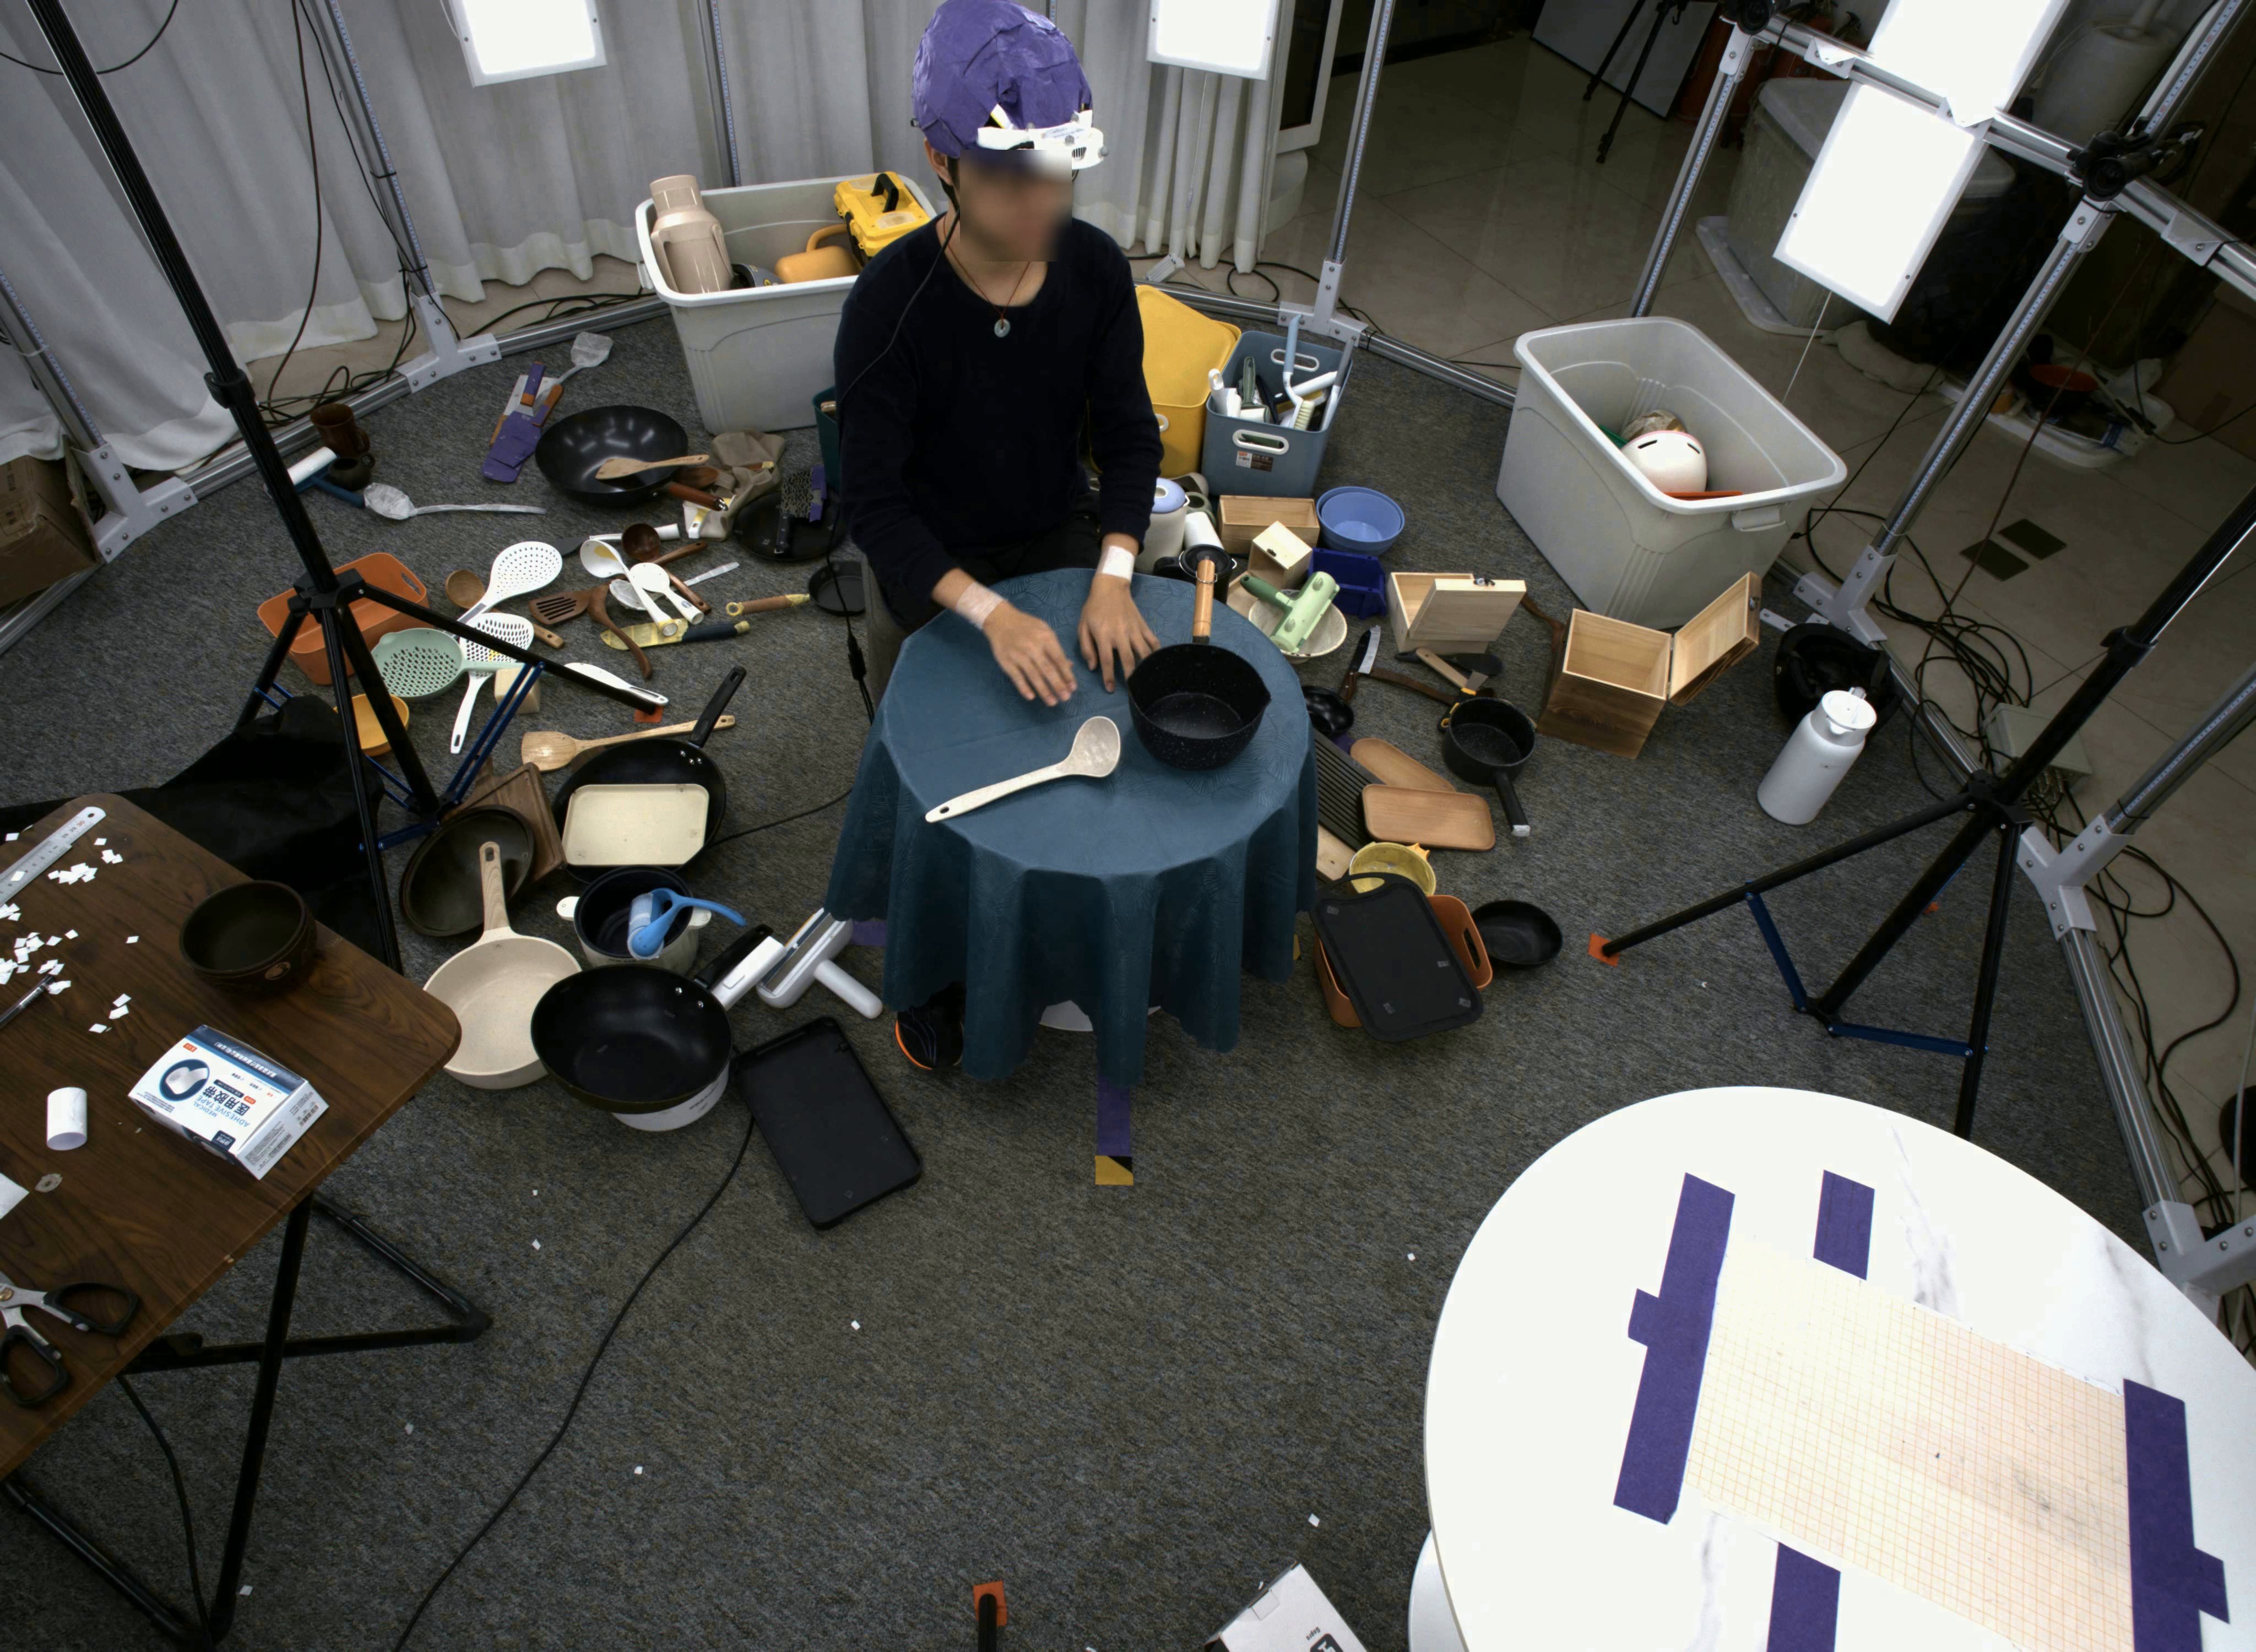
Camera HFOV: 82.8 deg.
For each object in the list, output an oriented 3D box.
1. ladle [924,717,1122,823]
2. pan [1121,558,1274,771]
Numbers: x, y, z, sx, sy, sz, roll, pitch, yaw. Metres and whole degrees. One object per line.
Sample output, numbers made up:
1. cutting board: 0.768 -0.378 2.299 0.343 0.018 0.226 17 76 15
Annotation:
1. ladle: -0.137 -0.070 1.677 0.275 0.068 0.091 -19 59 -19
2. pan: 0.097 -0.227 1.802 0.207 0.105 0.351 4 50 1
